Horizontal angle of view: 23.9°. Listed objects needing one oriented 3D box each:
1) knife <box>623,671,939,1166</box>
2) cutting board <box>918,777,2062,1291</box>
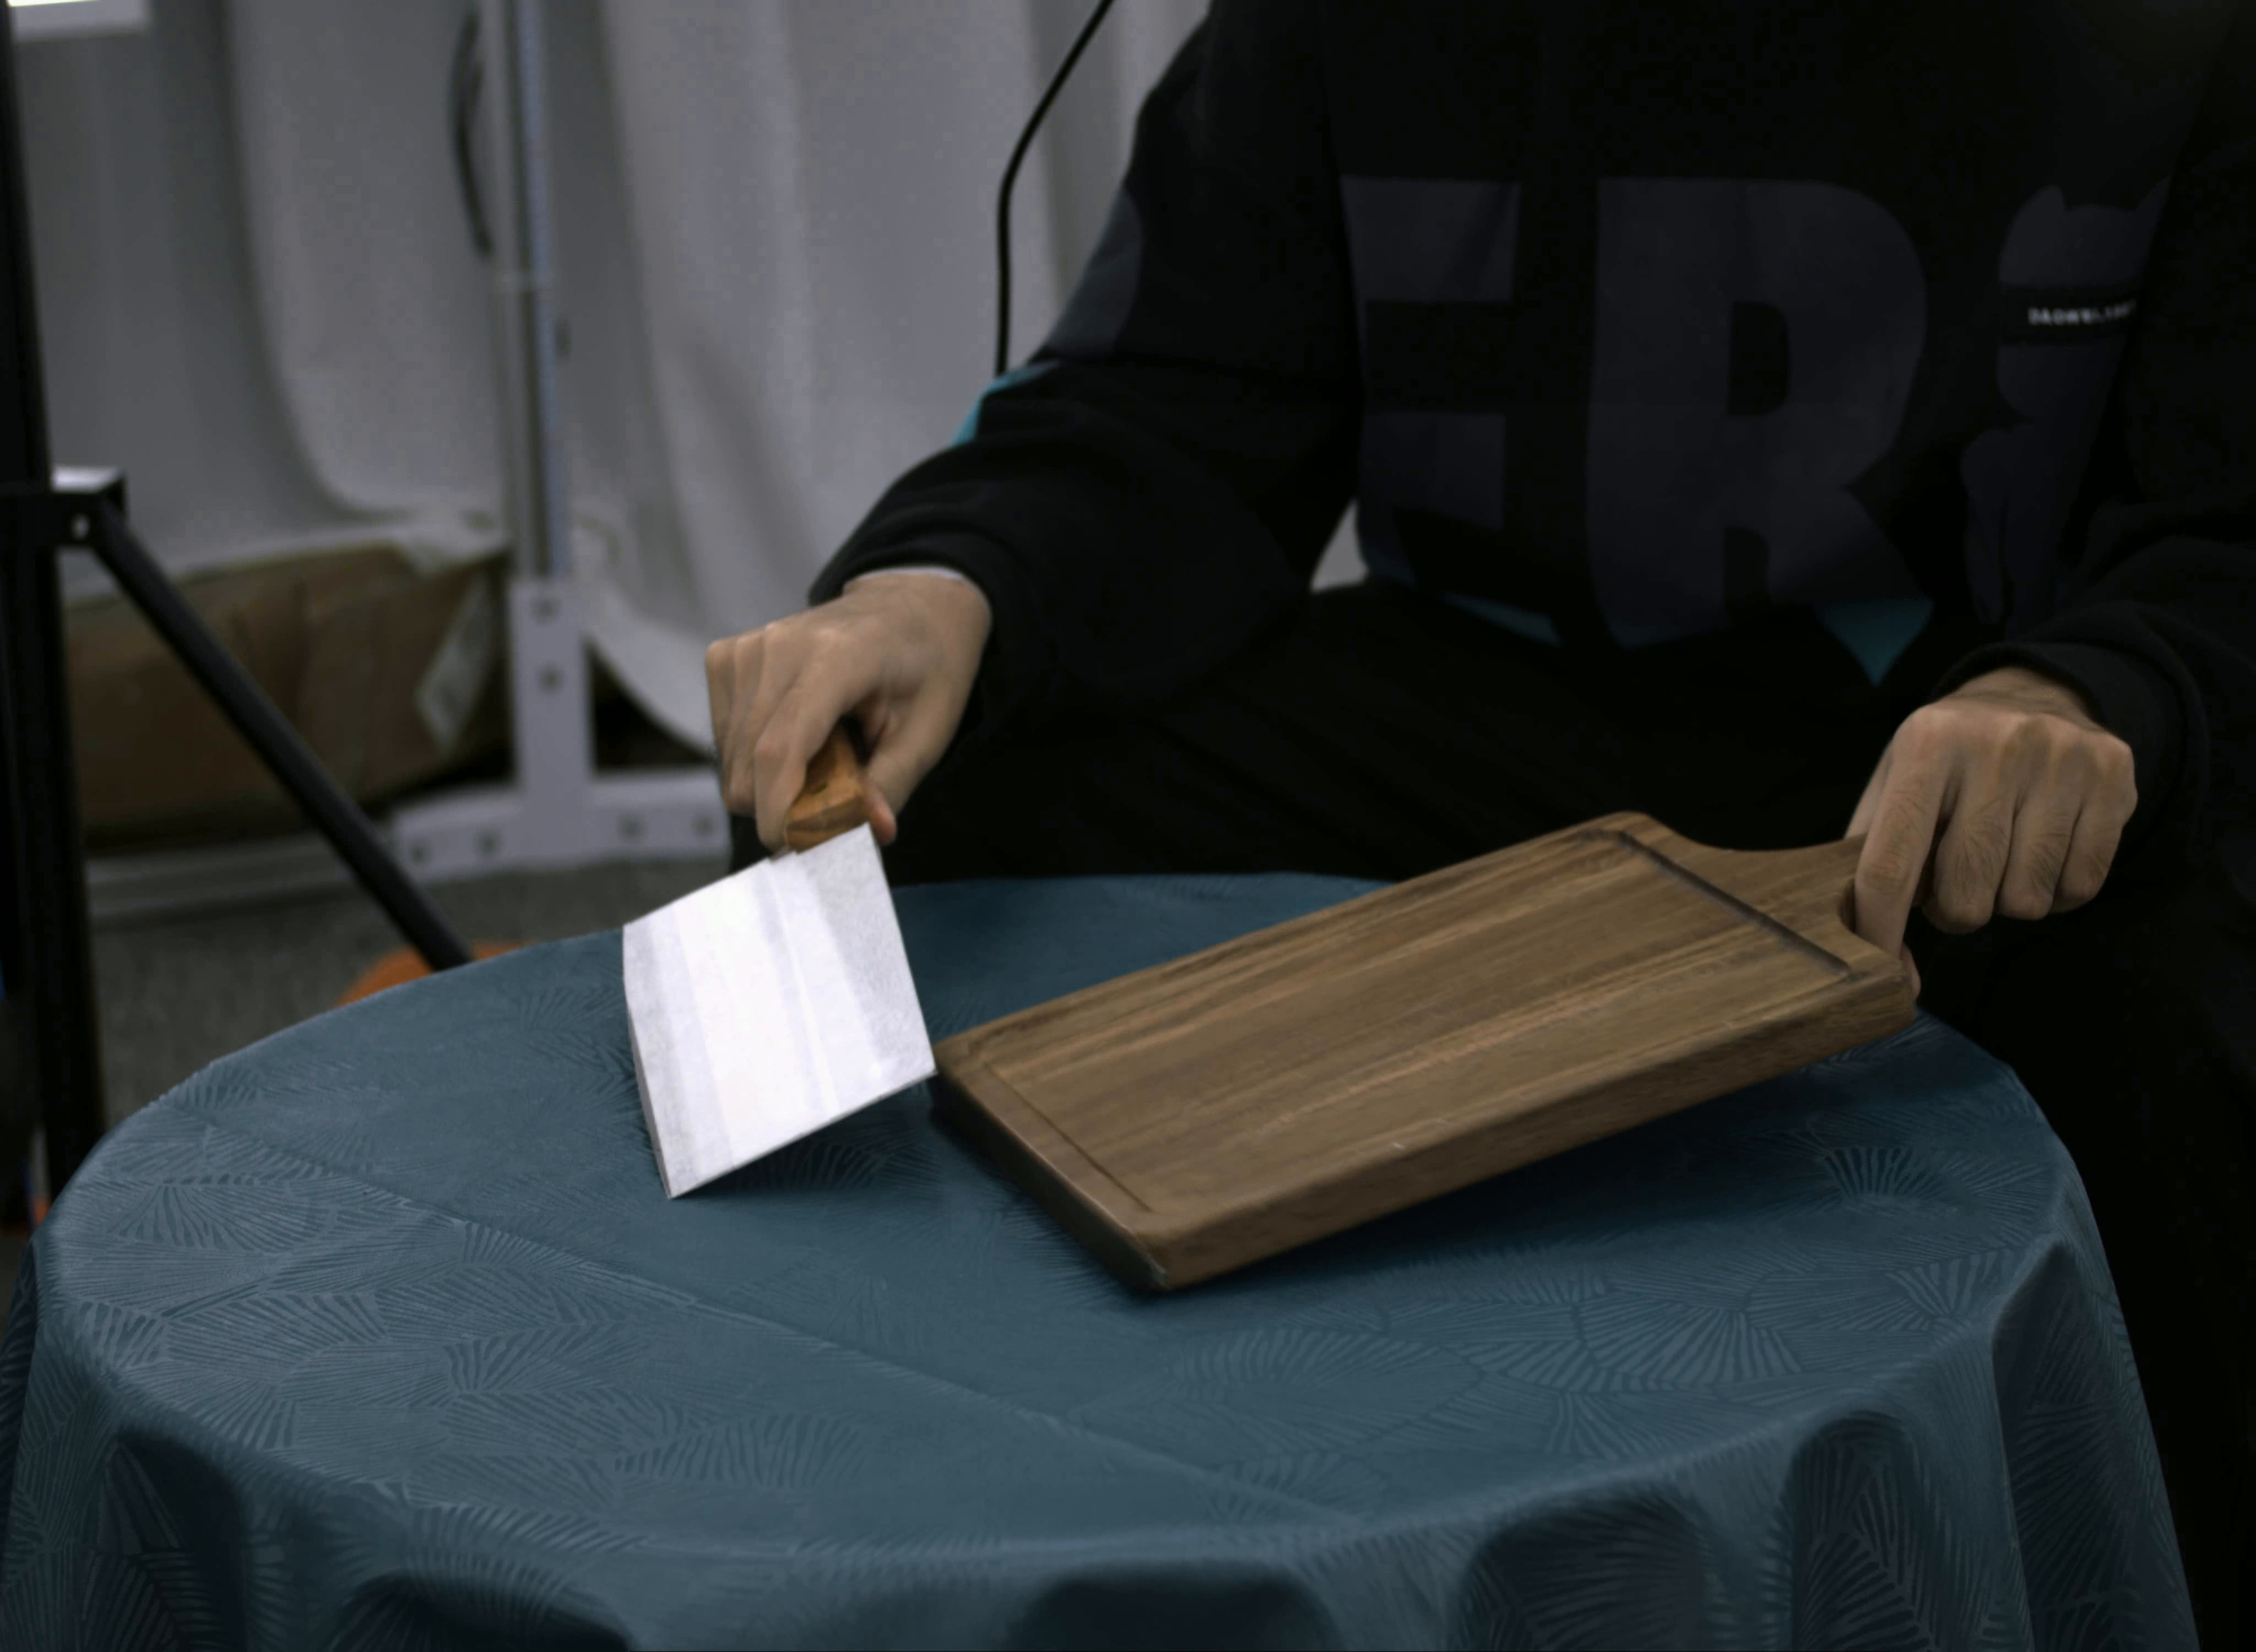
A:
[{"bbox_3d":[-0.118,0.029,1.708,0.093,0.021,0.309,-26,26,2],"label":"knife"},{"bbox_3d":[0.127,0.048,1.598,0.347,0.023,0.204,-18,19,-14],"label":"cutting board"}]
